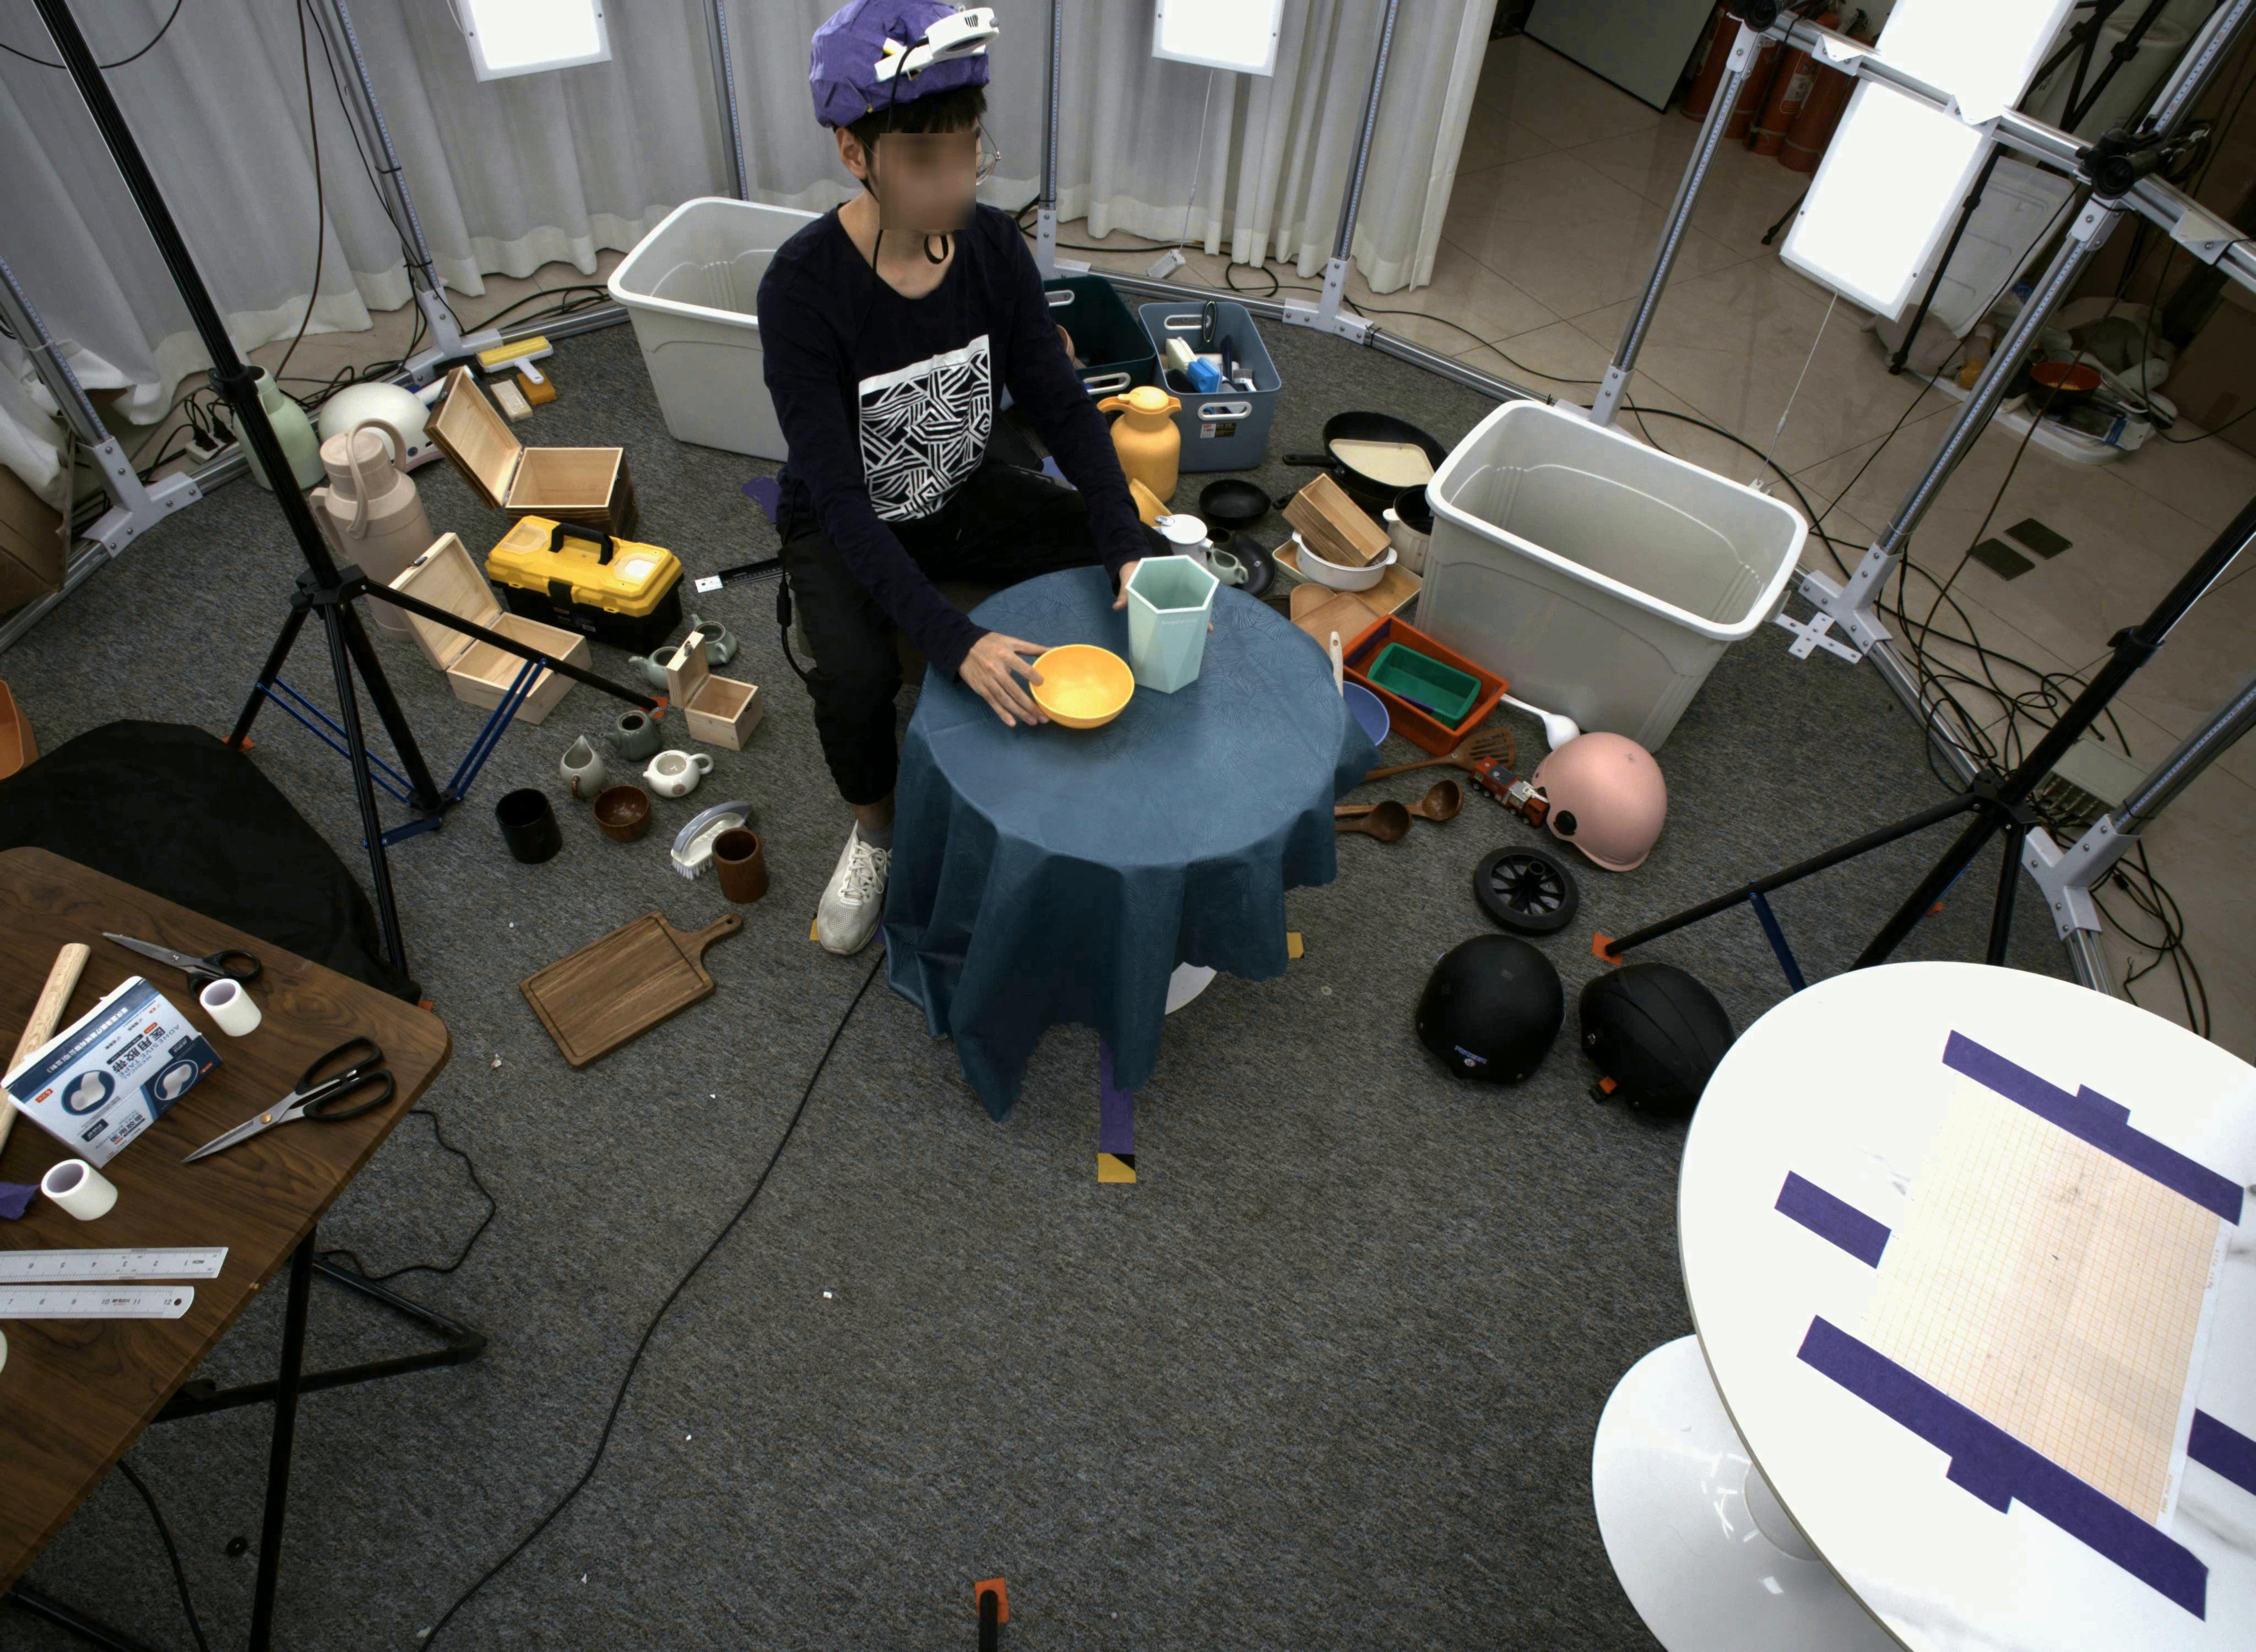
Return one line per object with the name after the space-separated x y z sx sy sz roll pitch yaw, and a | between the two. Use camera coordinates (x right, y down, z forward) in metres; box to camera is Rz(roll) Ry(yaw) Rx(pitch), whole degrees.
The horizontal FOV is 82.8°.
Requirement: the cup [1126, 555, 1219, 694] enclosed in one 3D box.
0.056 -0.279 1.809 0.131 0.159 0.118 -7 48 -12 | cup

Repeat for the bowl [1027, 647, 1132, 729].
-0.069 -0.180 1.784 0.145 0.058 0.149 3 47 -3 | bowl
